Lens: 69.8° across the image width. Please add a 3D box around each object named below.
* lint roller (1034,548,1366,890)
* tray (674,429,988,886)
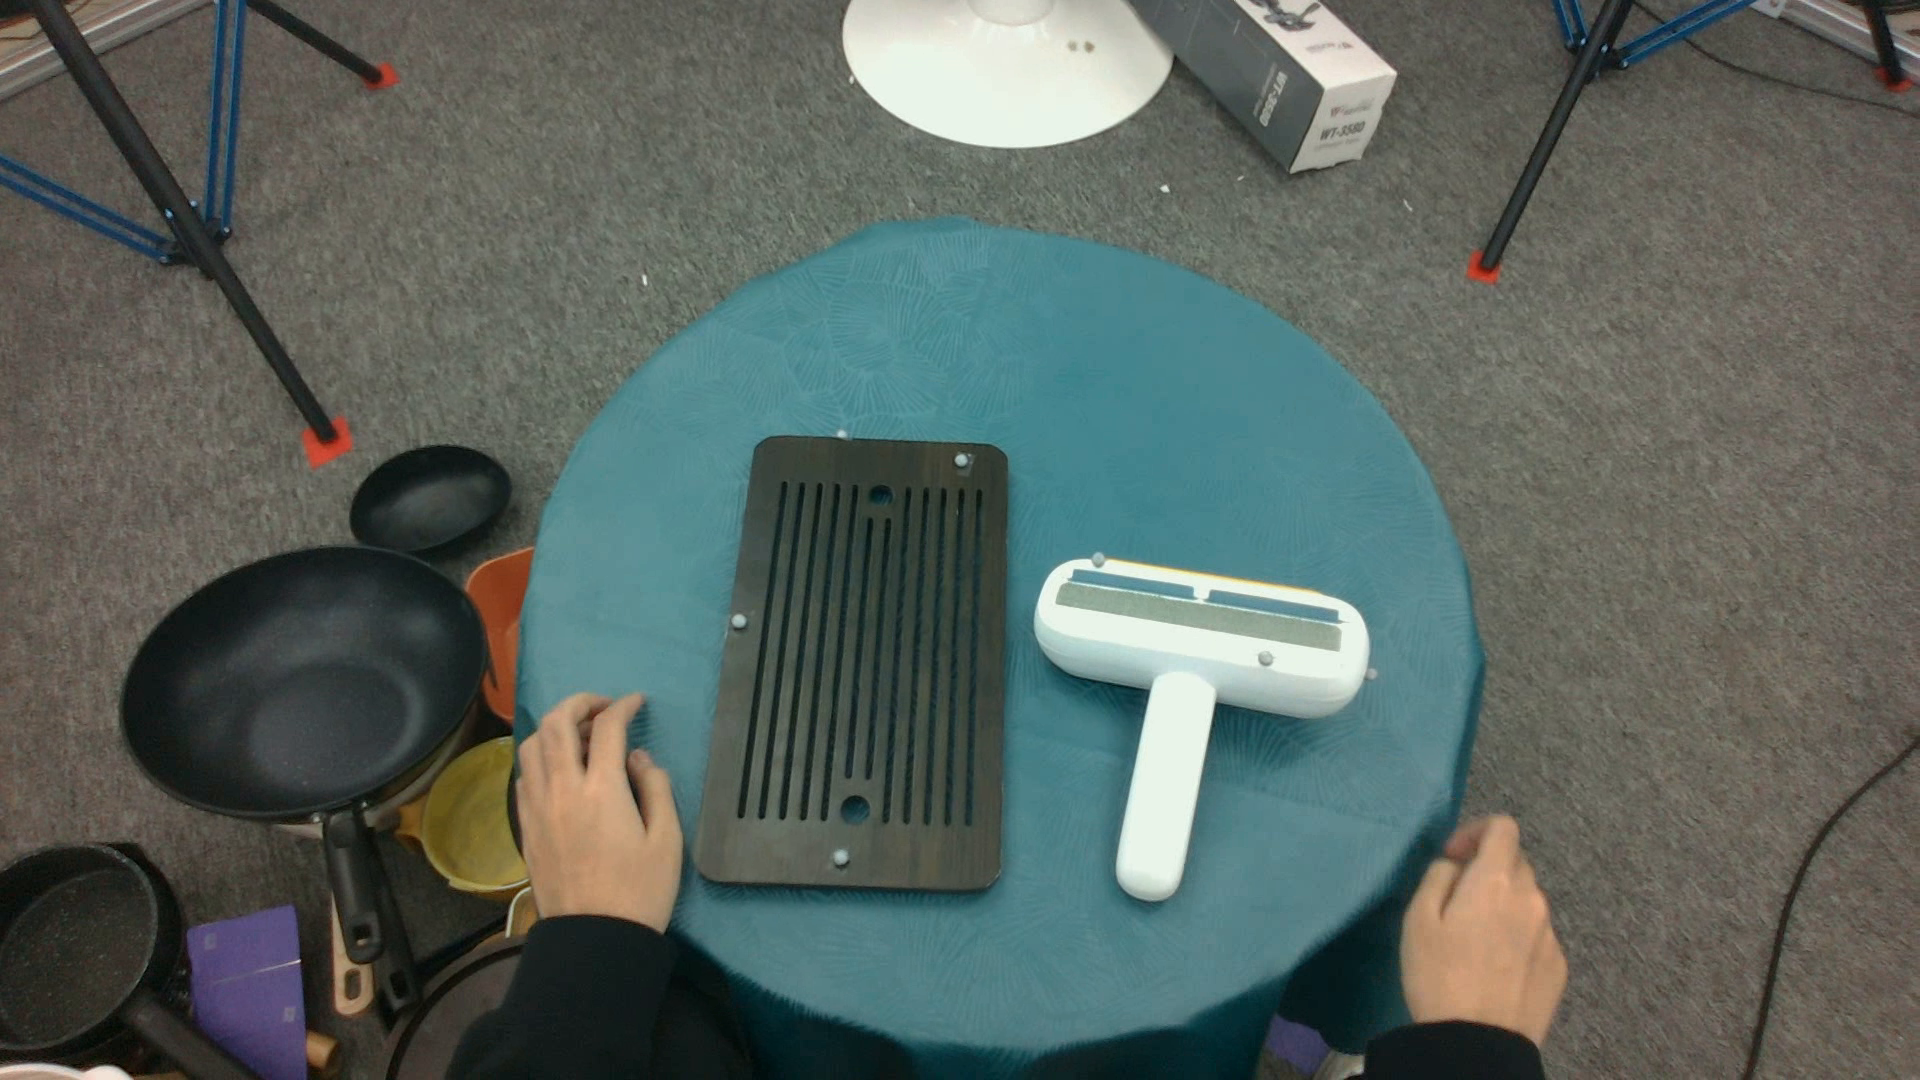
[{"bbox_3d":[0.119,0.102,0.783,0.193,0.074,0.193,14,58,15],"label":"lint roller"},{"bbox_3d":[-0.069,0.060,0.833,0.170,0.018,0.307,2,56,-1],"label":"tray"}]
